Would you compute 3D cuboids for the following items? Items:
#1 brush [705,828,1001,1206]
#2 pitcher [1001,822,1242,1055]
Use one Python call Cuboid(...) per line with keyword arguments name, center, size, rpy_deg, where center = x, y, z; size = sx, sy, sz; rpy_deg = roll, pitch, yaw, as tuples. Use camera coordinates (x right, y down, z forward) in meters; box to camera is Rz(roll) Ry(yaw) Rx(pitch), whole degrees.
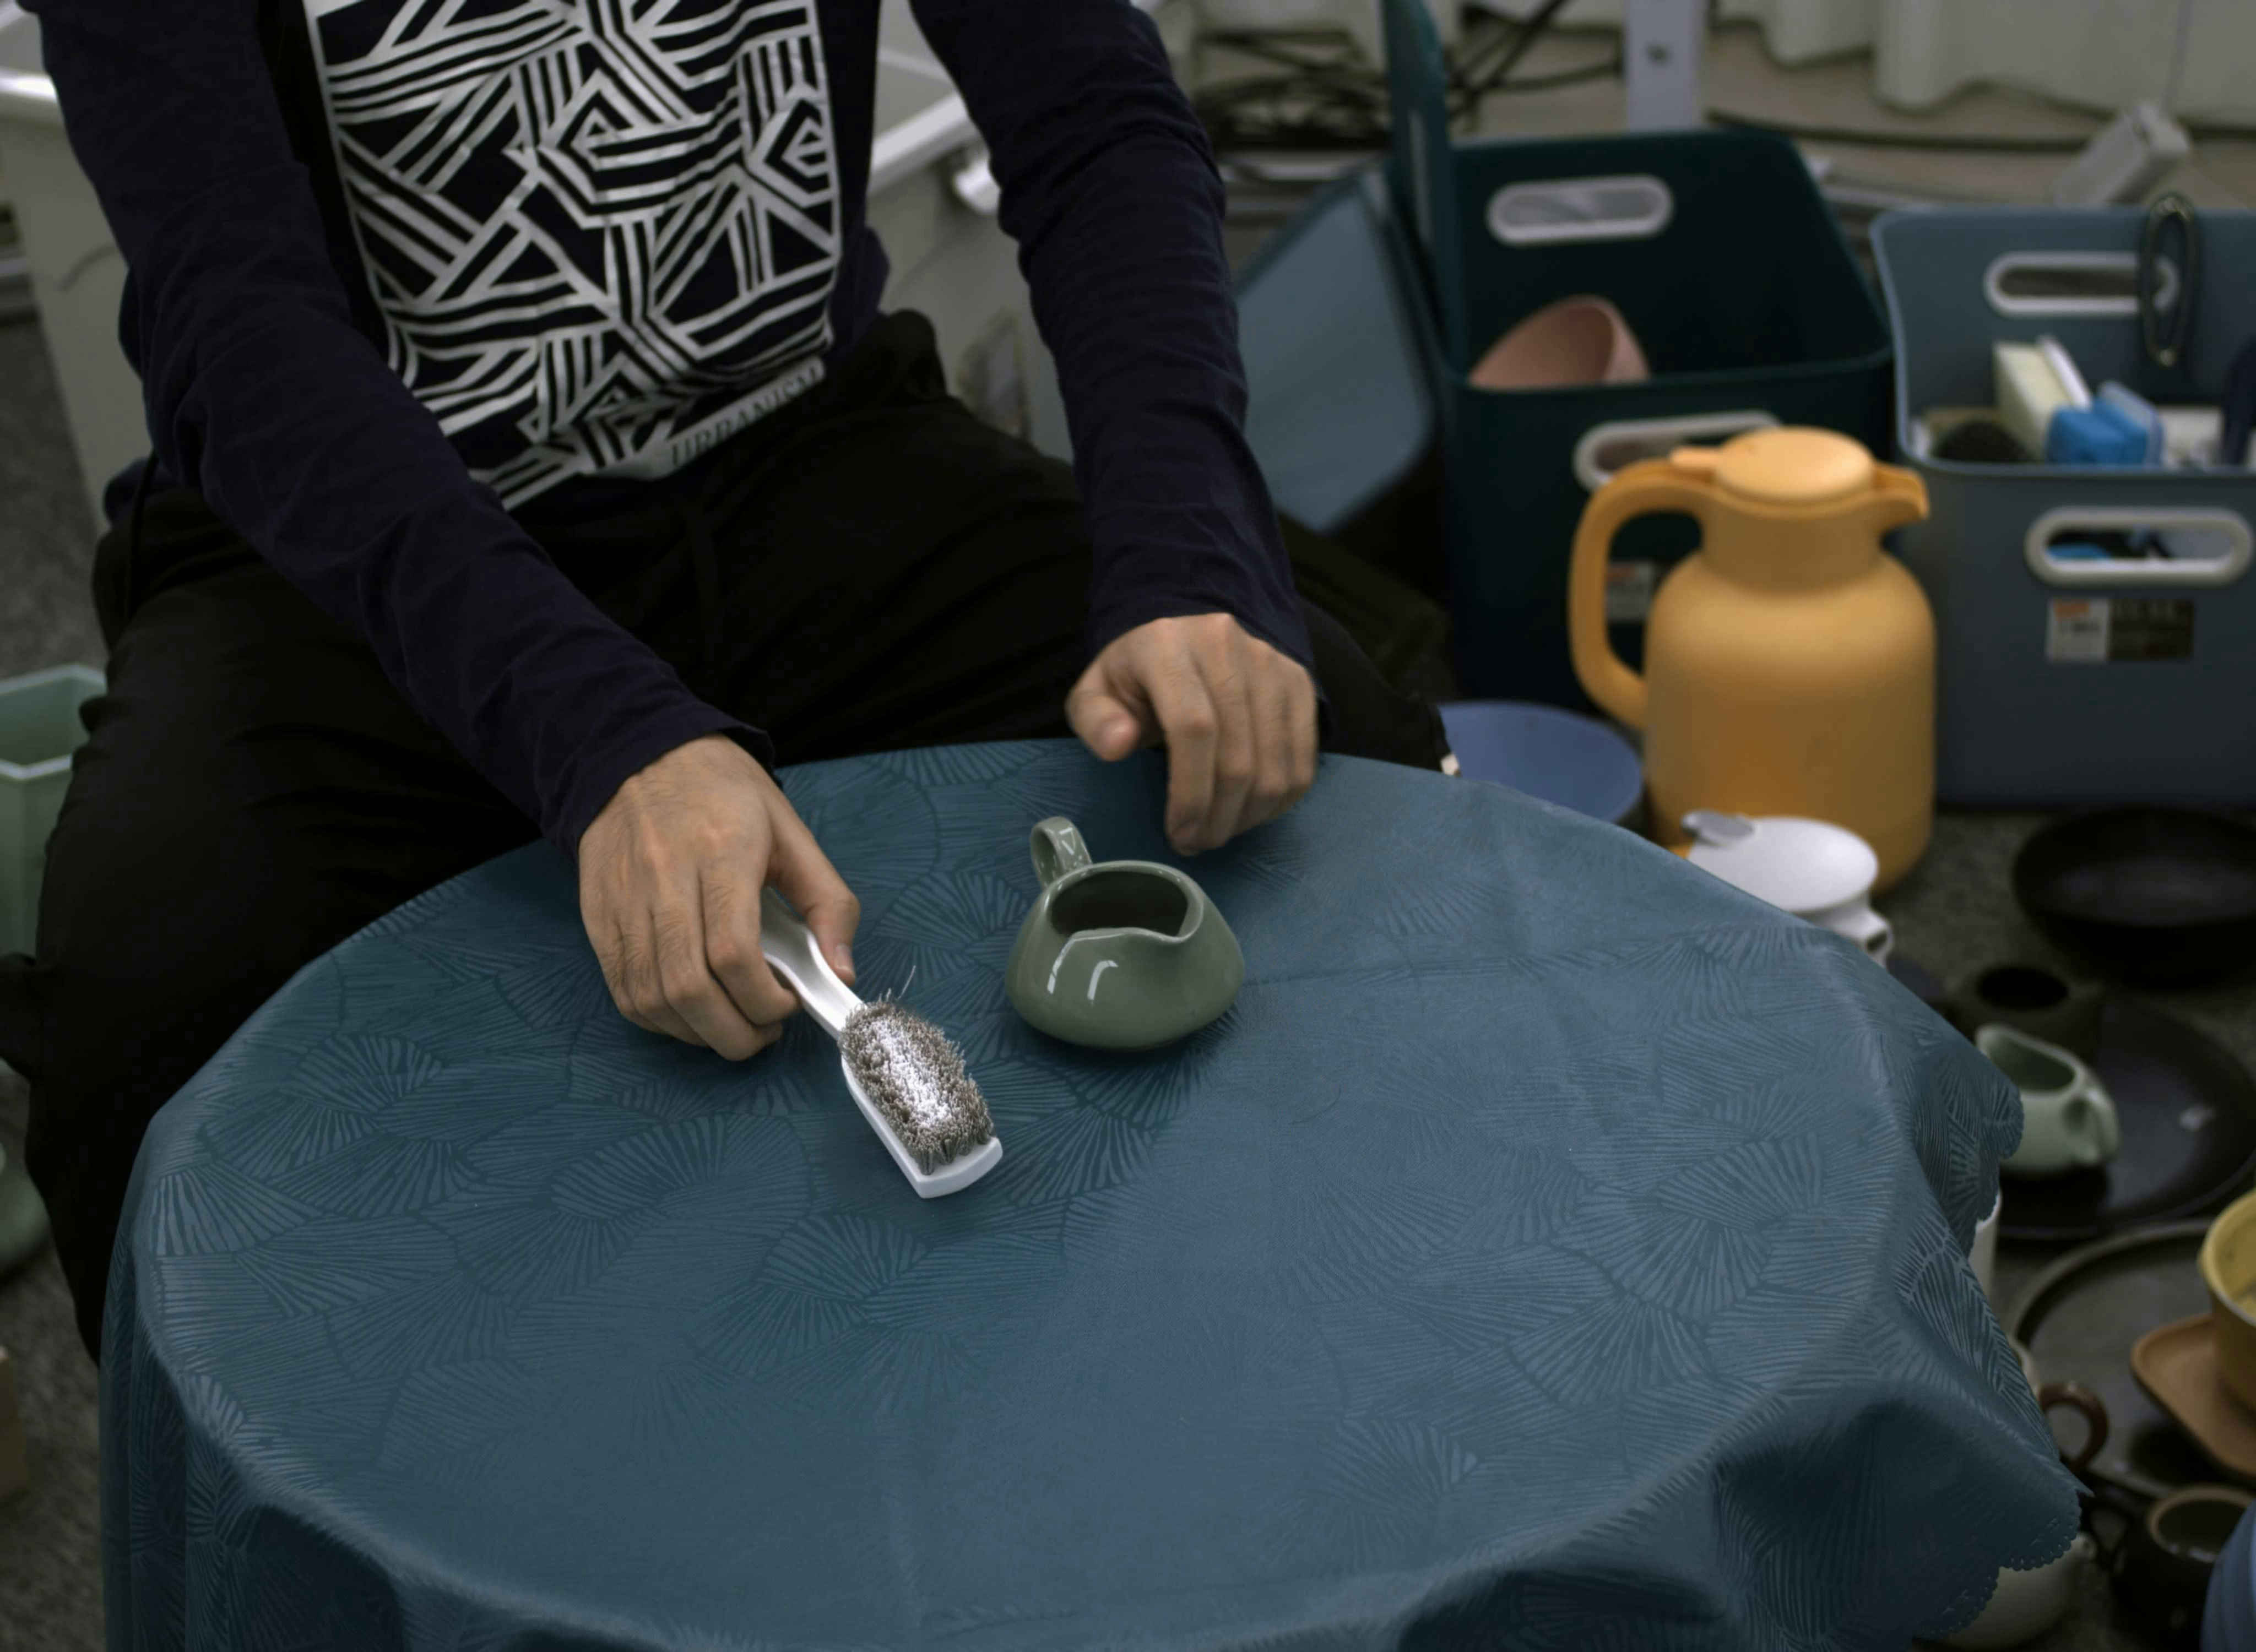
Cuboid(name="brush", center=(-0.103, 0.050, 1.934), size=(0.034, 0.049, 0.246), rpy_deg=(-27, 38, -9))
Cuboid(name="pitcher", center=(-0.006, 0.040, 1.958), size=(0.085, 0.055, 0.113), rpy_deg=(-16, 28, -27))
